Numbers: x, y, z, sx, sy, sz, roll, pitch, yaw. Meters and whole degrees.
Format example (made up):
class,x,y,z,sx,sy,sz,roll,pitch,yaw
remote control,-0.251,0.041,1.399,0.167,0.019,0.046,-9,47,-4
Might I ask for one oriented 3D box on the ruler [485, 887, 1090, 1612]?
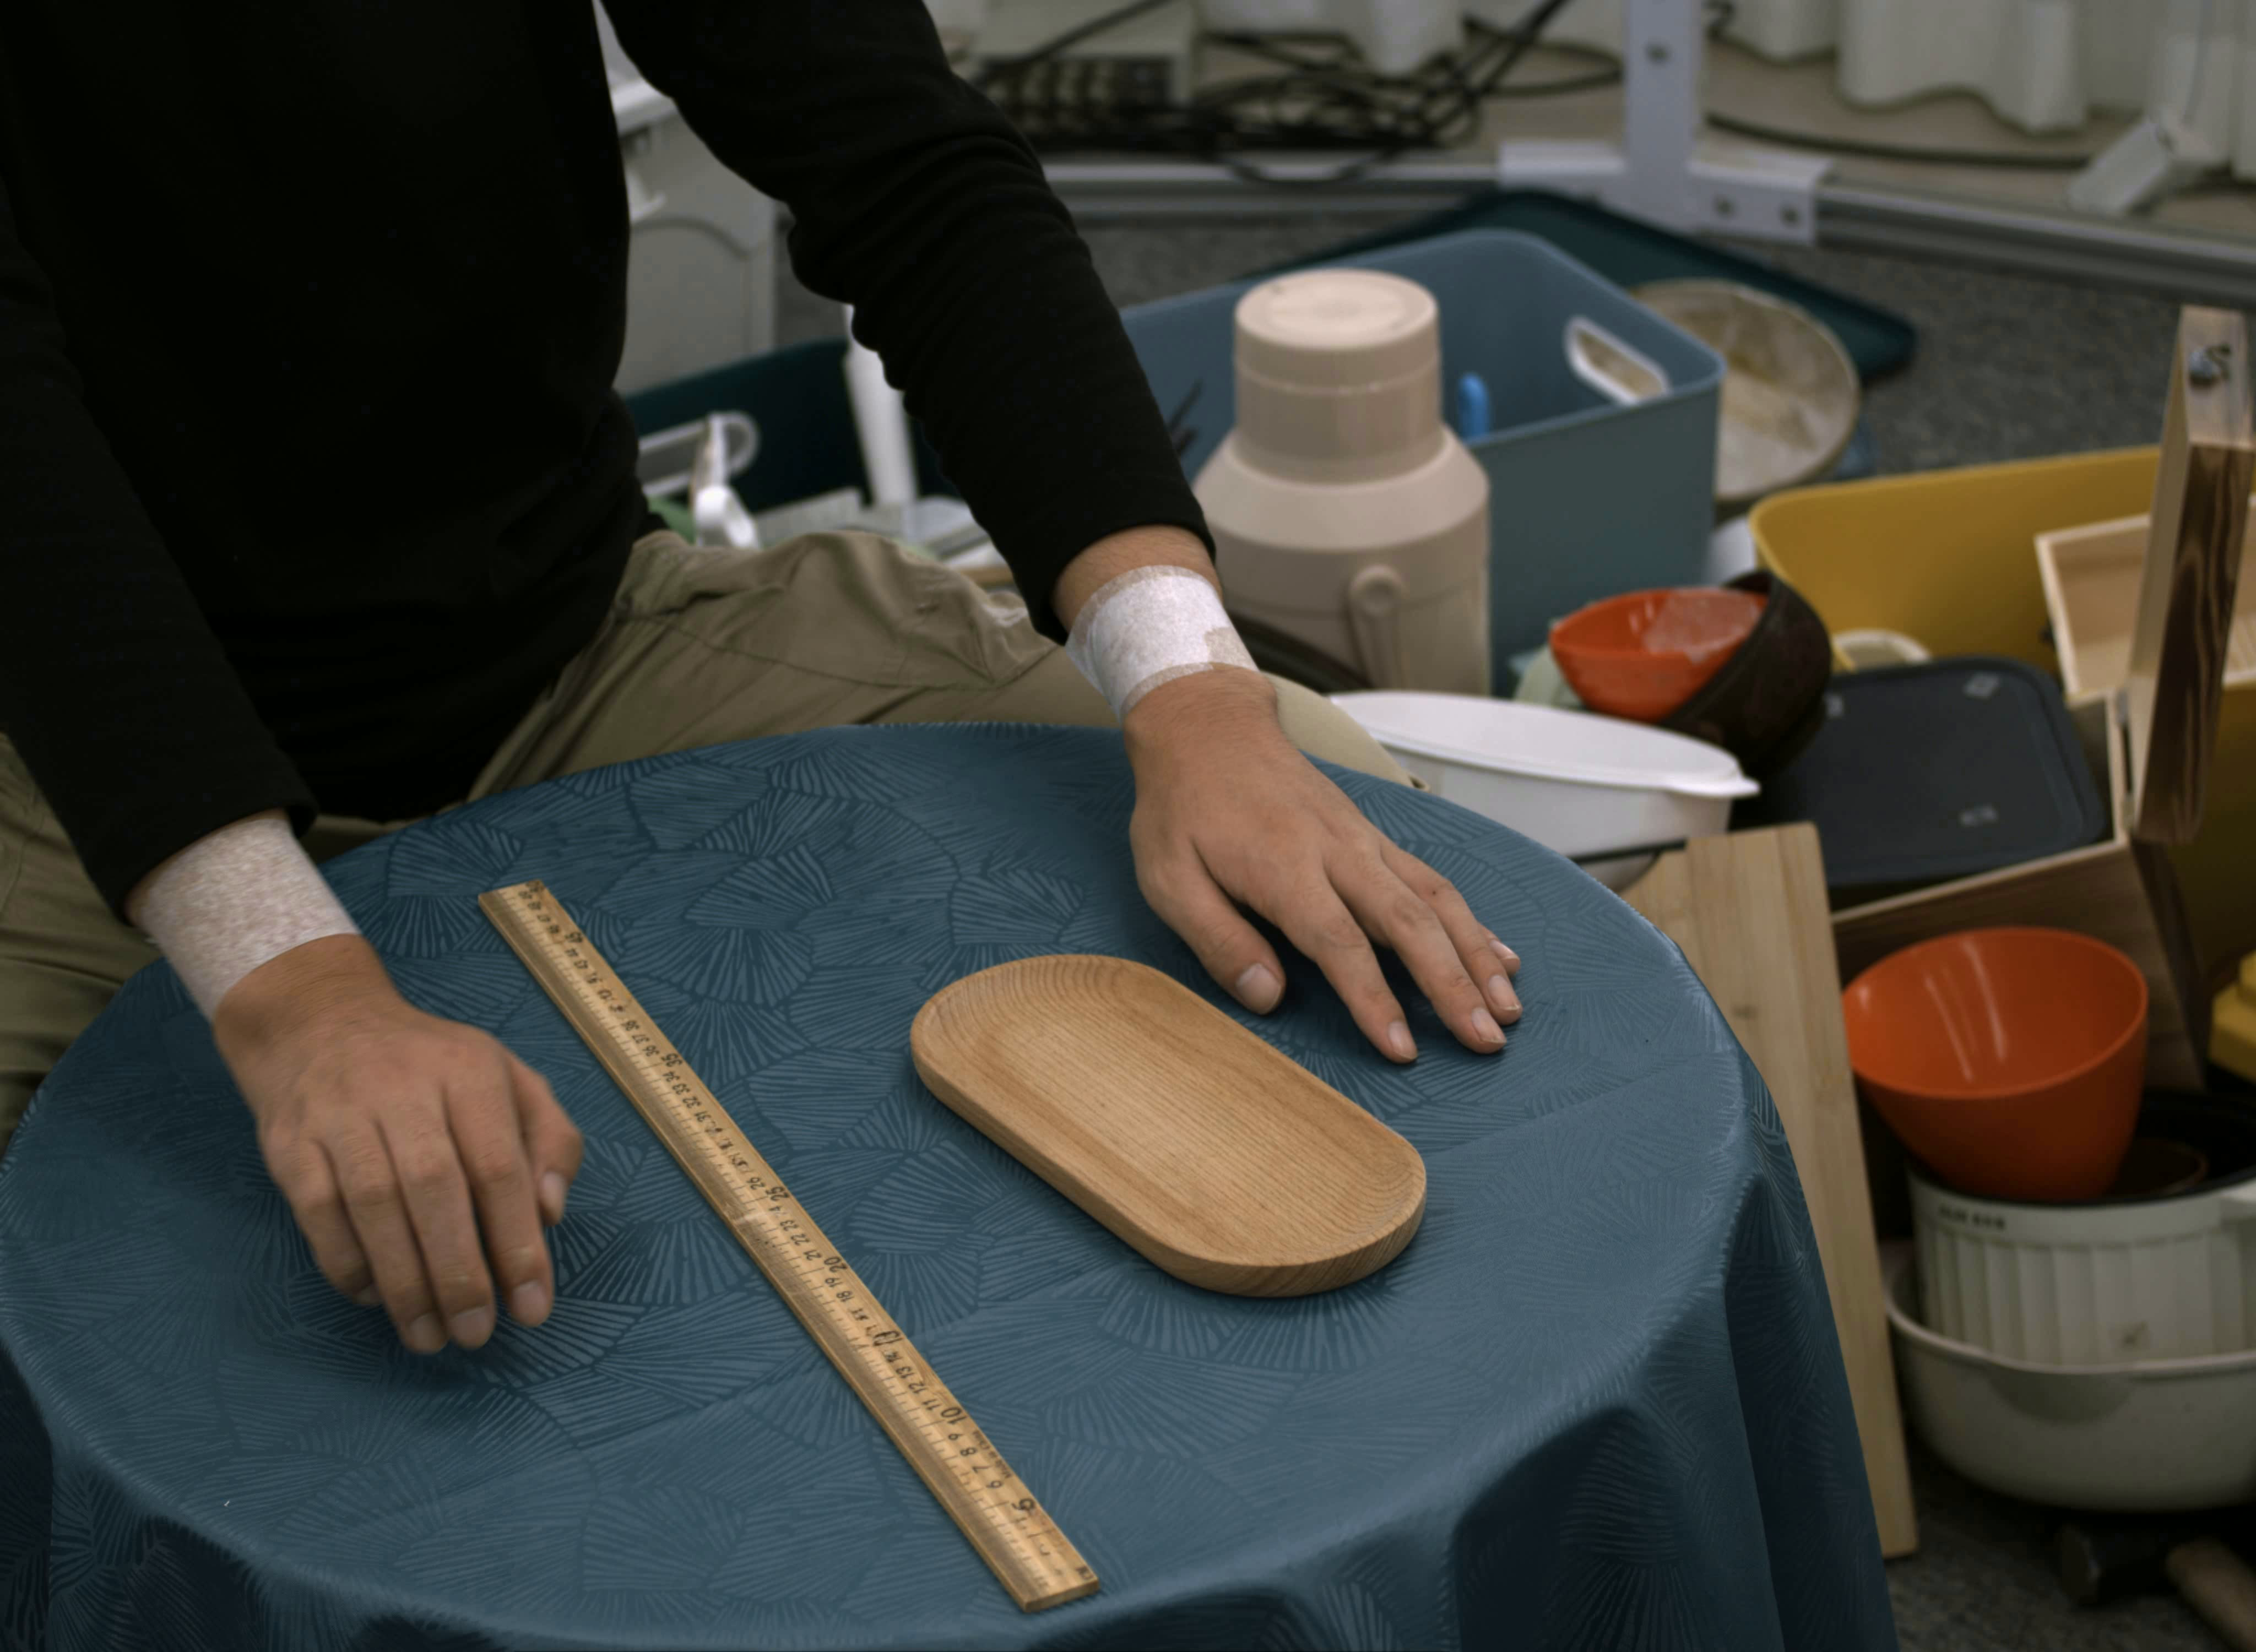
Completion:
class,x,y,z,sx,sy,sz,roll,pitch,yaw
ruler,-0.122,0.127,1.858,0.027,0.006,0.504,-12,29,-21

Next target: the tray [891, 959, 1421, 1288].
class,x,y,z,sx,sy,sz,roll,pitch,yaw
tray,0.007,0.098,1.887,0.102,0.020,0.231,-19,30,-31
